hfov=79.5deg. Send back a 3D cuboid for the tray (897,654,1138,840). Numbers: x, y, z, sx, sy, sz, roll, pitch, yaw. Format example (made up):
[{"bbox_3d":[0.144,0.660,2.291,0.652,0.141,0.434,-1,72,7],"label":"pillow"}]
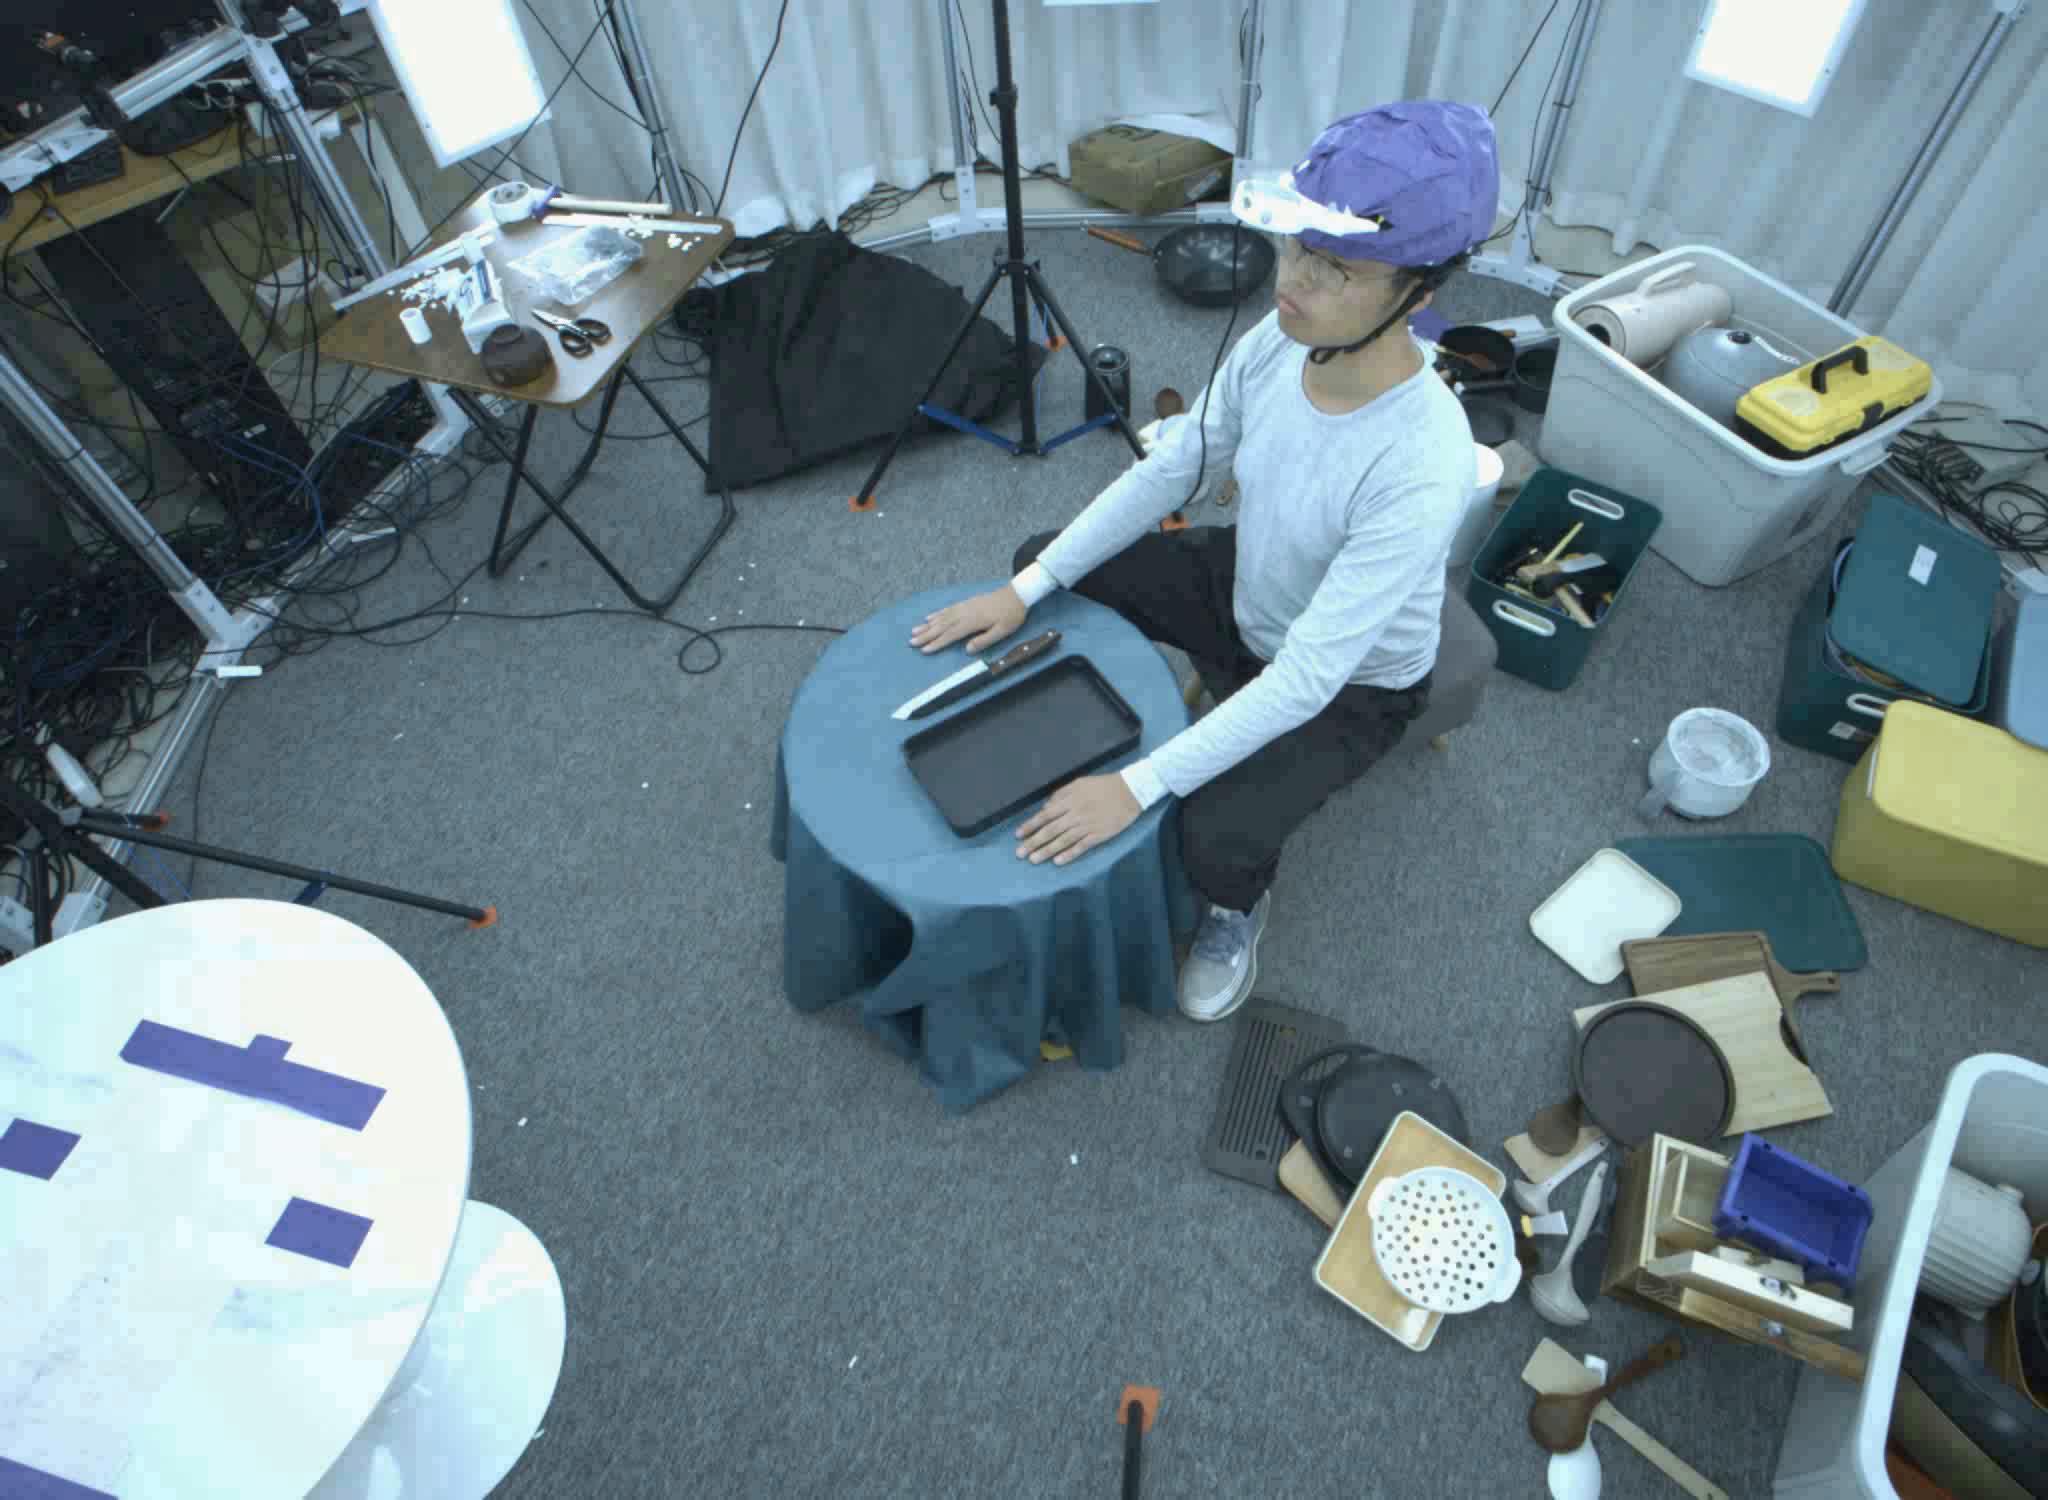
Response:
[{"bbox_3d":[-0.007,-0.009,1.780,0.320,0.037,0.181,-29,59,-19],"label":"tray"}]

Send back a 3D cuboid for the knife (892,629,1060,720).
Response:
[{"bbox_3d":[-0.072,-0.114,1.869,0.291,0.020,0.049,-28,53,-15],"label":"knife"}]
